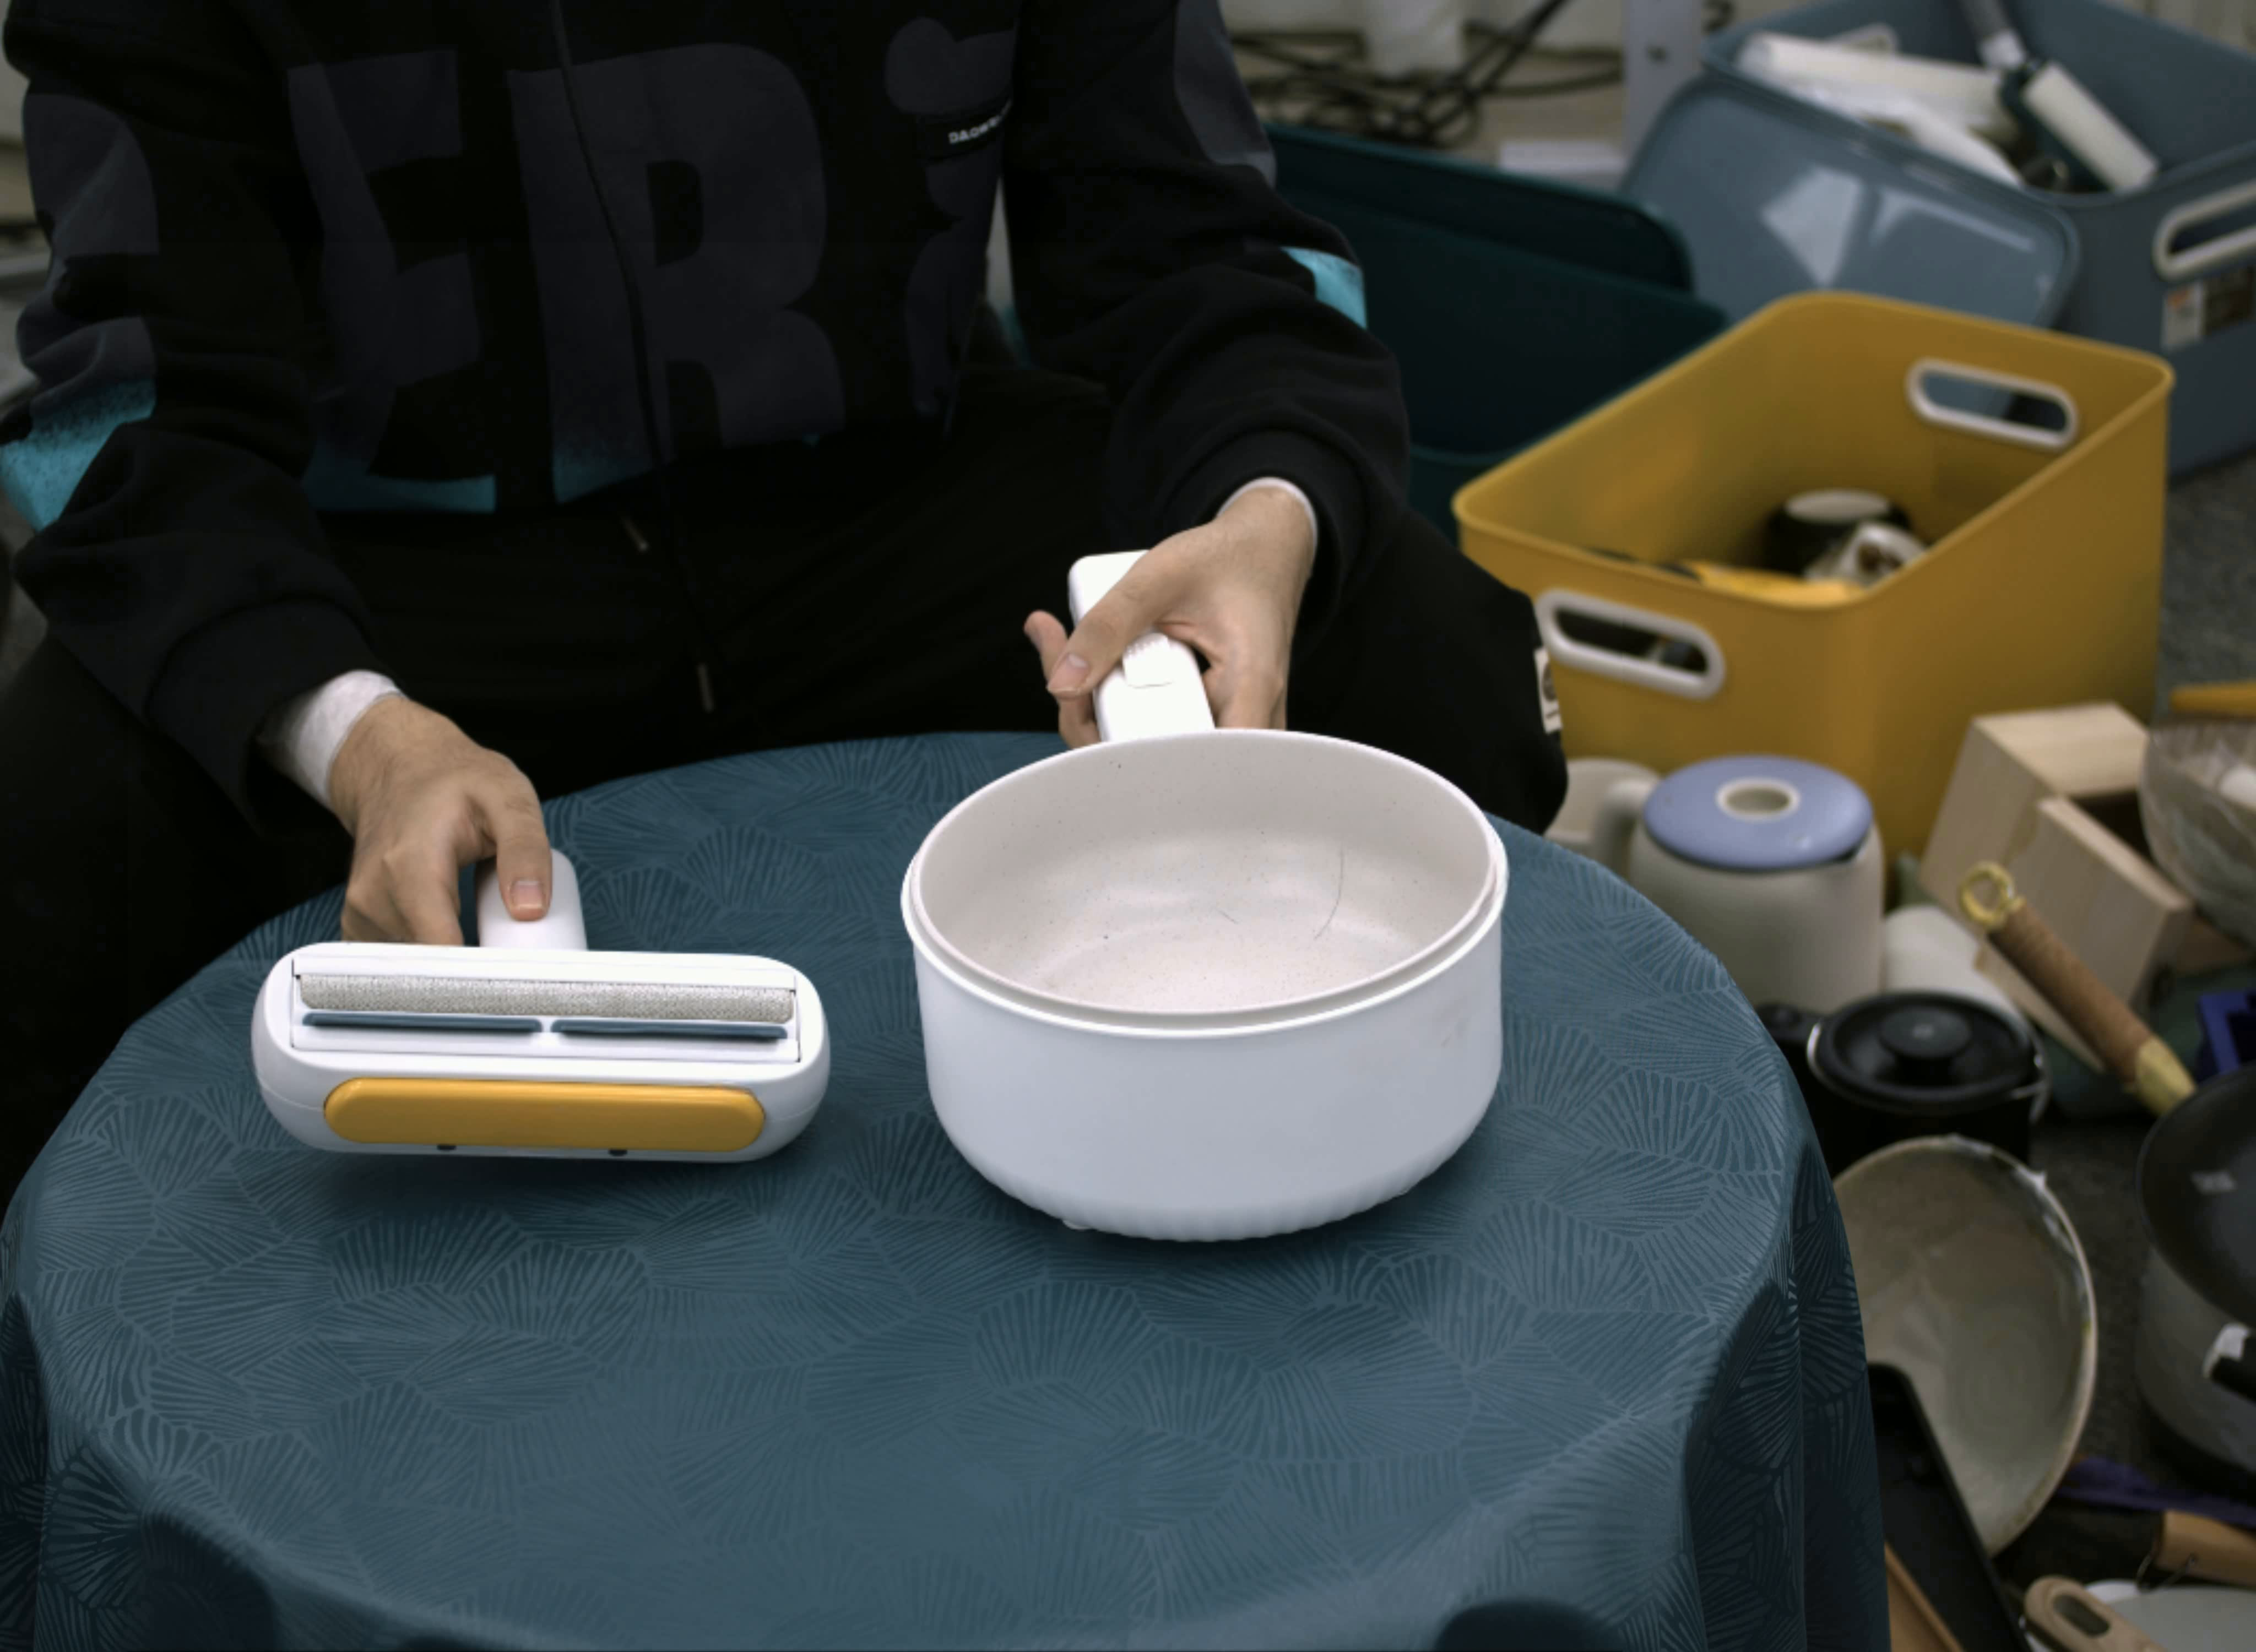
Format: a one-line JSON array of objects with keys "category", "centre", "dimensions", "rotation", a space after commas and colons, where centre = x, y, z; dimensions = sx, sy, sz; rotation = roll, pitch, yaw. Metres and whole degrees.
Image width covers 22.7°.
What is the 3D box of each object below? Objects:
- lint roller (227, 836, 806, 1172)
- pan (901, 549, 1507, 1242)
[{"category": "lint roller", "centre": [-0.207, 0.049, 1.931], "dimensions": [0.192, 0.073, 0.196], "rotation": [1, 34, -4]}, {"category": "pan", "centre": [0.018, 0.021, 1.942], "dimensions": [0.200, 0.101, 0.359], "rotation": [-6, 27, -5]}]
